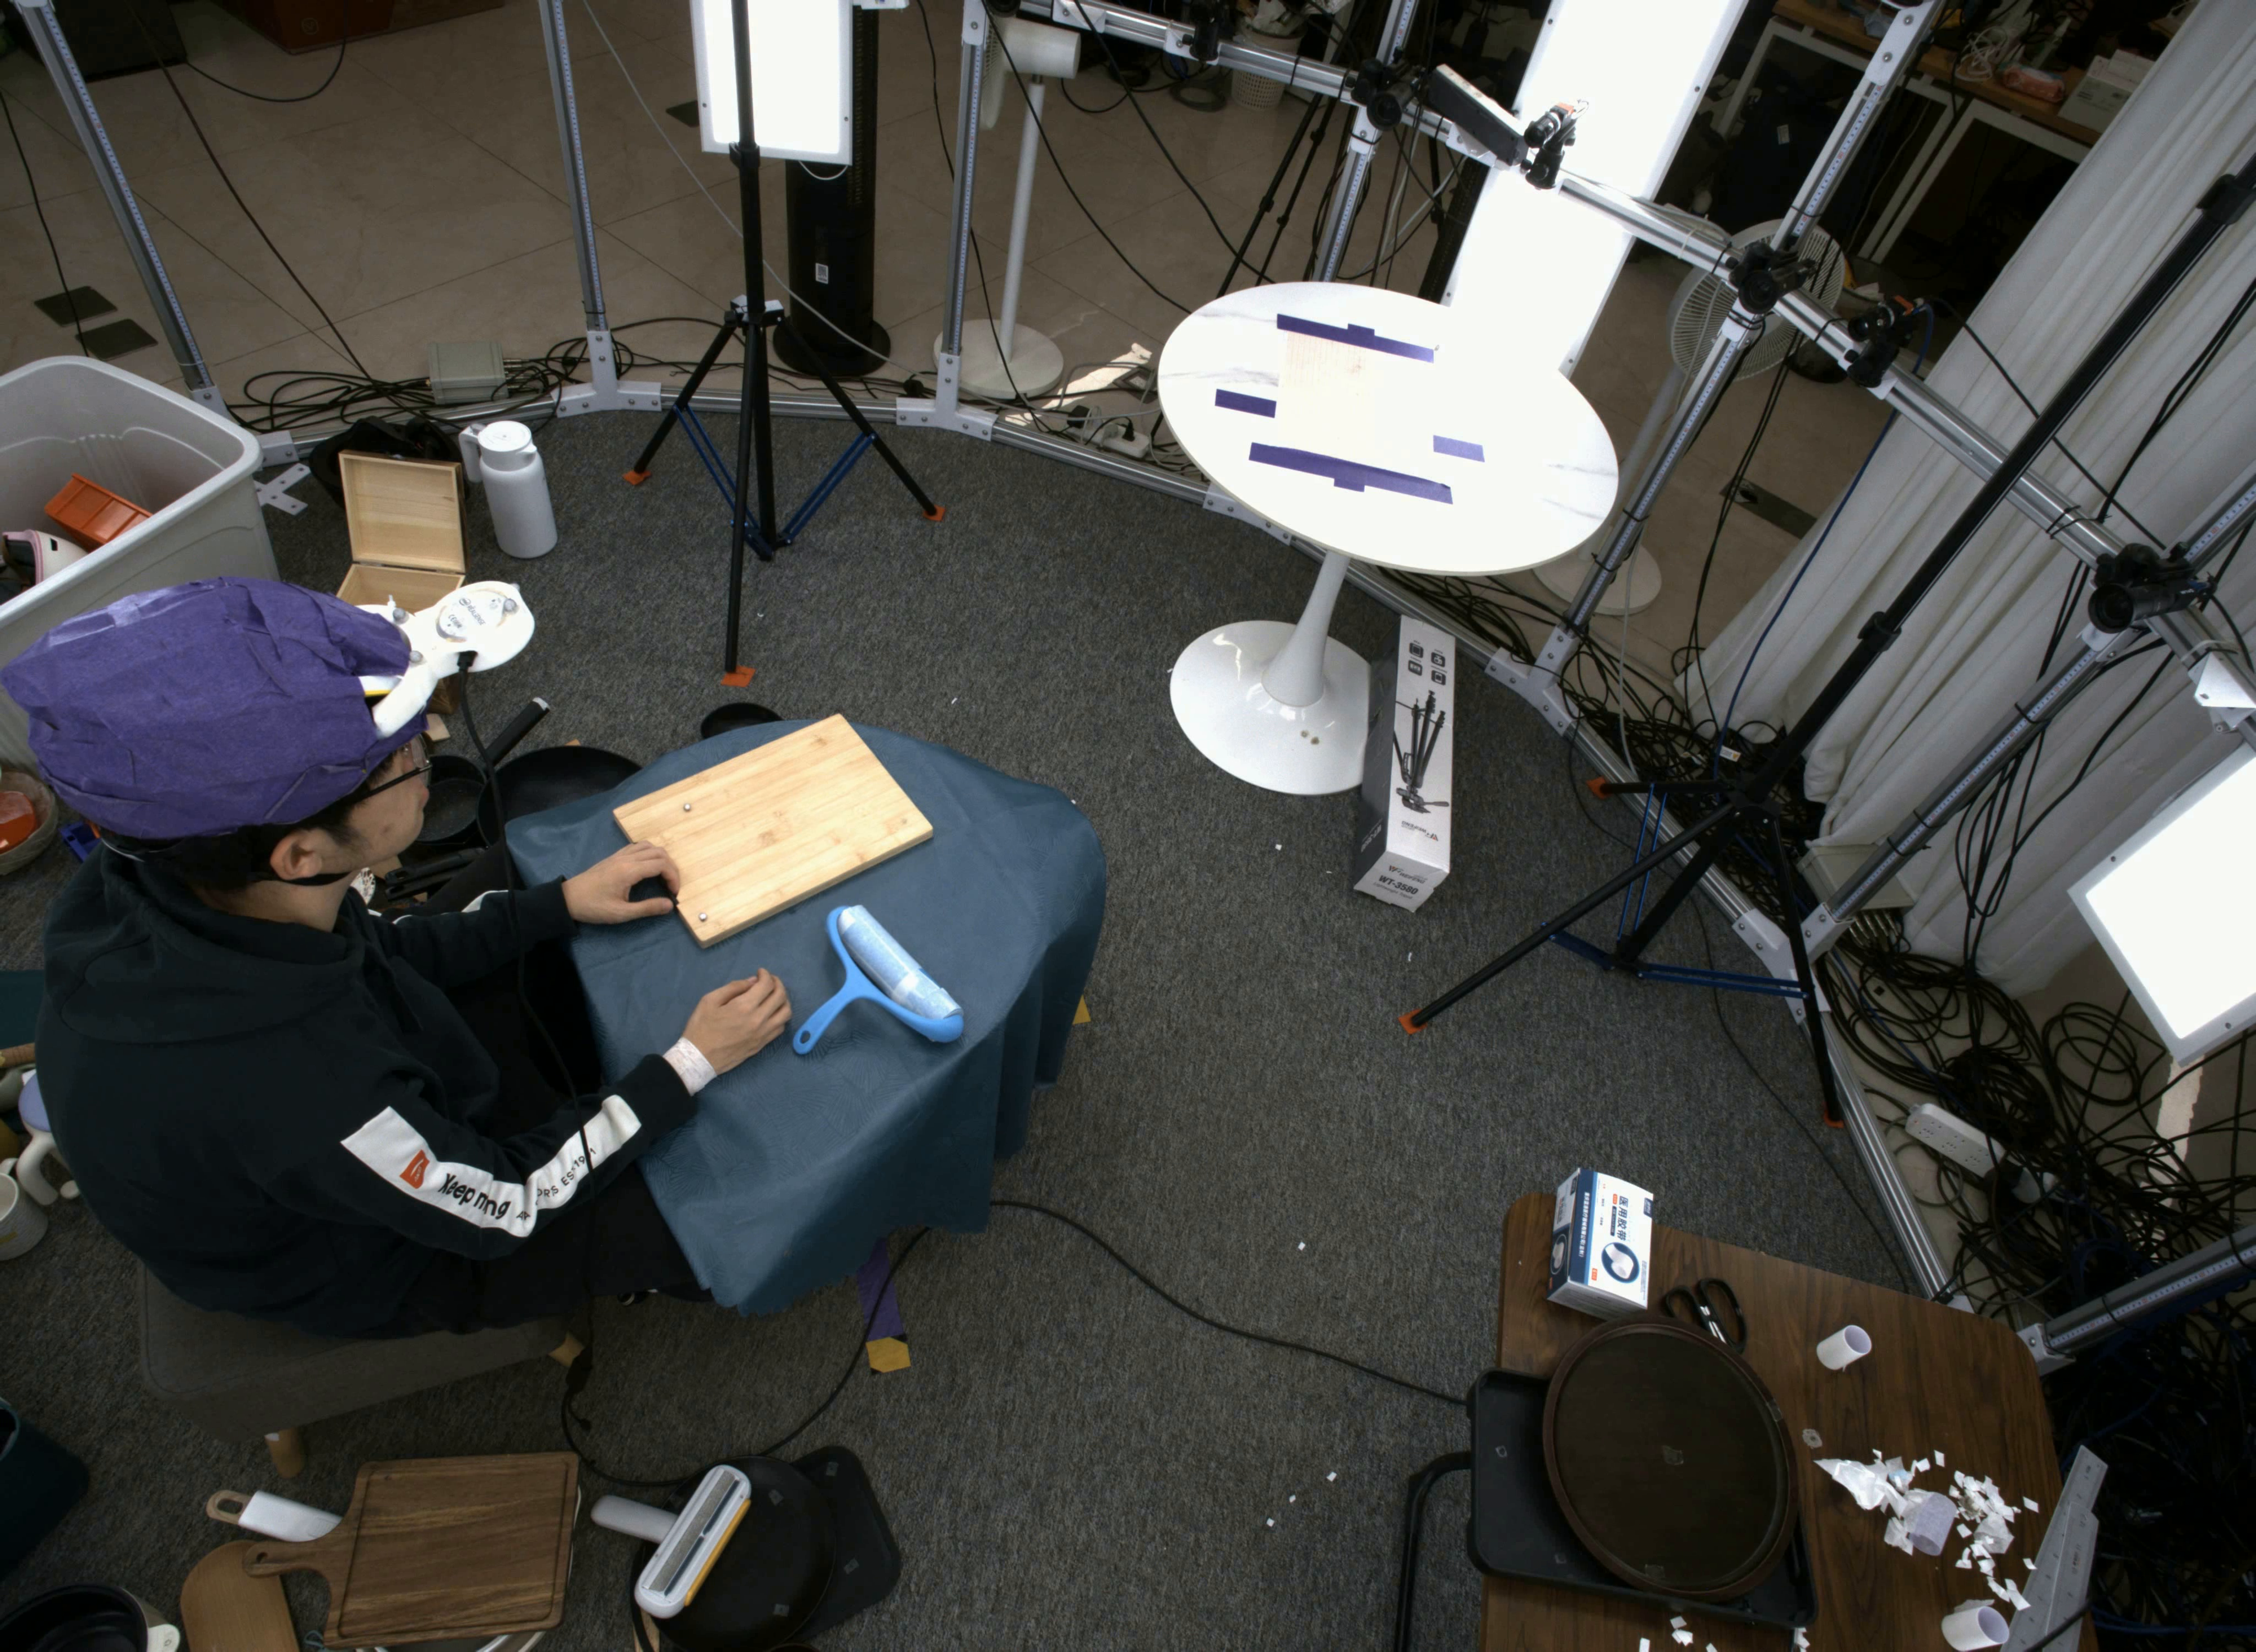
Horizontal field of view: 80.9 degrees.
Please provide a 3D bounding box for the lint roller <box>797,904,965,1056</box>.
[{"bbox_3d":[-0.323,0.206,1.568,0.224,0.069,0.180,41,54,14],"label":"lint roller"}]

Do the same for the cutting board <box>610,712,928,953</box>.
[{"bbox_3d":[-0.470,-0.002,1.709,0.350,0.024,0.245,-30,66,-31],"label":"cutting board"}]
